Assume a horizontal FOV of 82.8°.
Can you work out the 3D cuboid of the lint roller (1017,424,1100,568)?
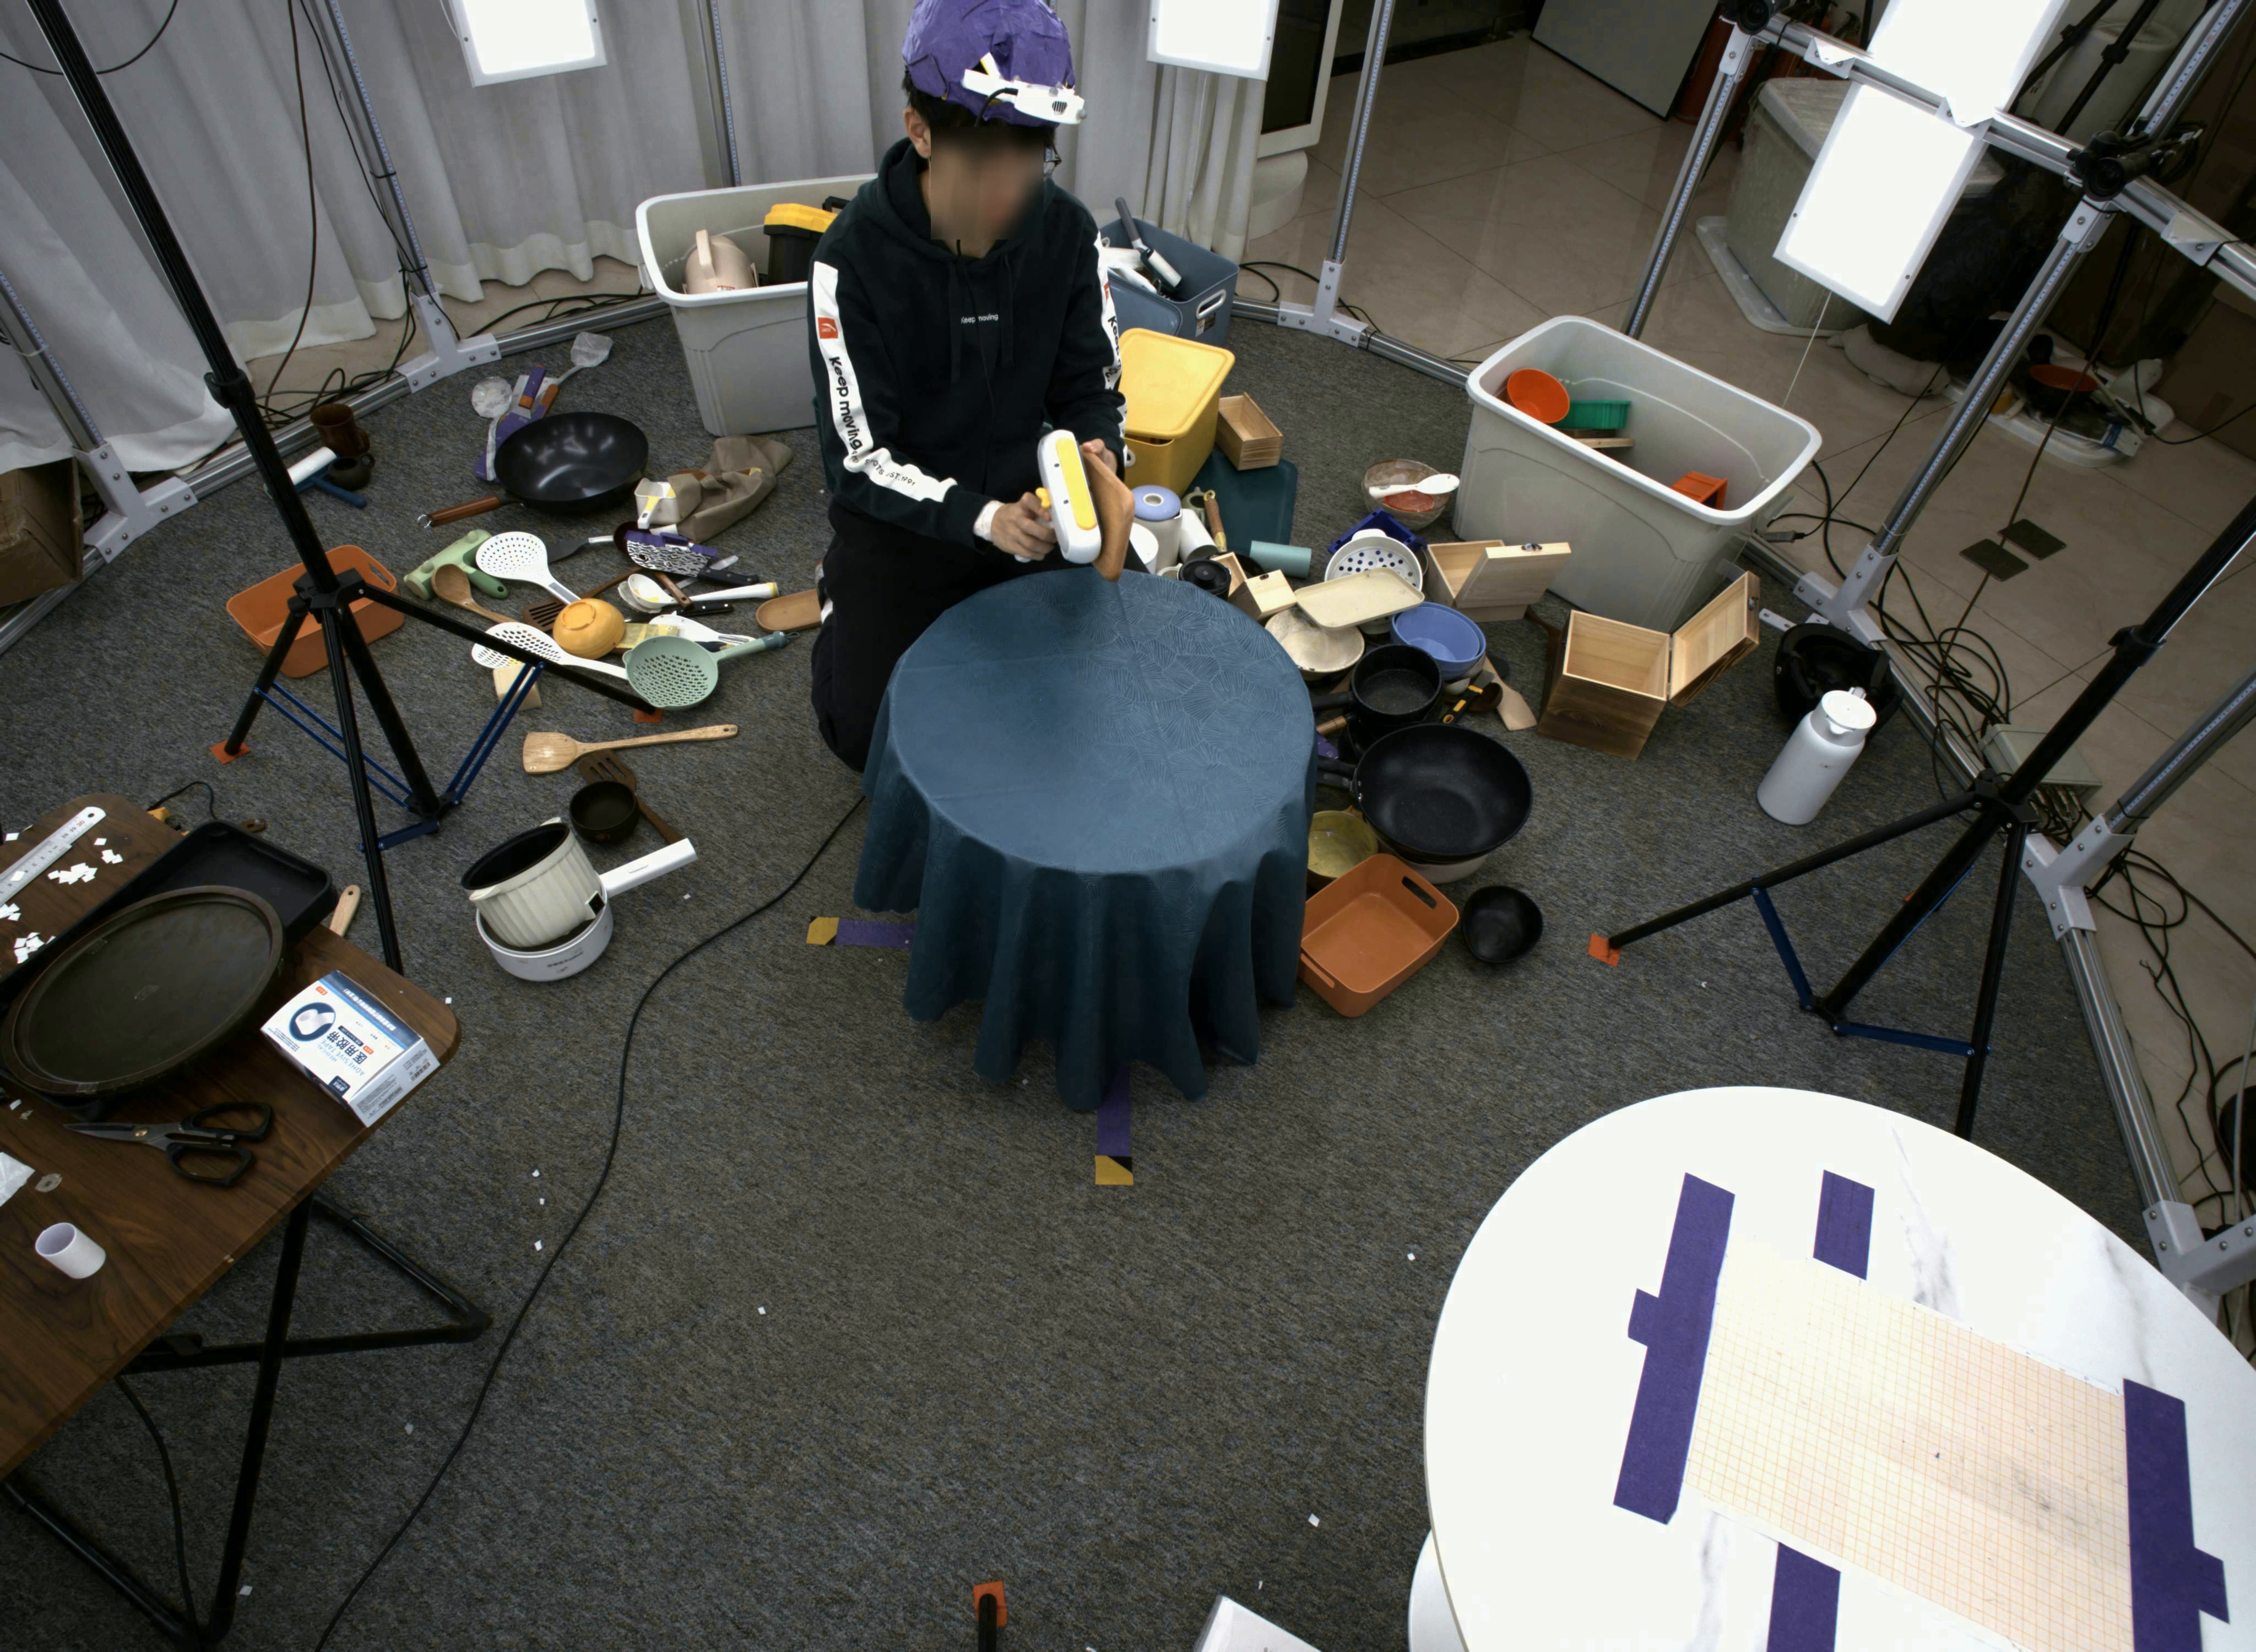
[{"bbox_3d":[-0.106,-0.429,1.798,0.074,0.189,0.196,-12,68,-23],"label":"lint roller"}]

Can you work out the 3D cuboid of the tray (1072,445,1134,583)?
[{"bbox_3d":[-0.046,-0.435,1.784,0.023,0.128,0.256,3,29,-24],"label":"tray"}]
